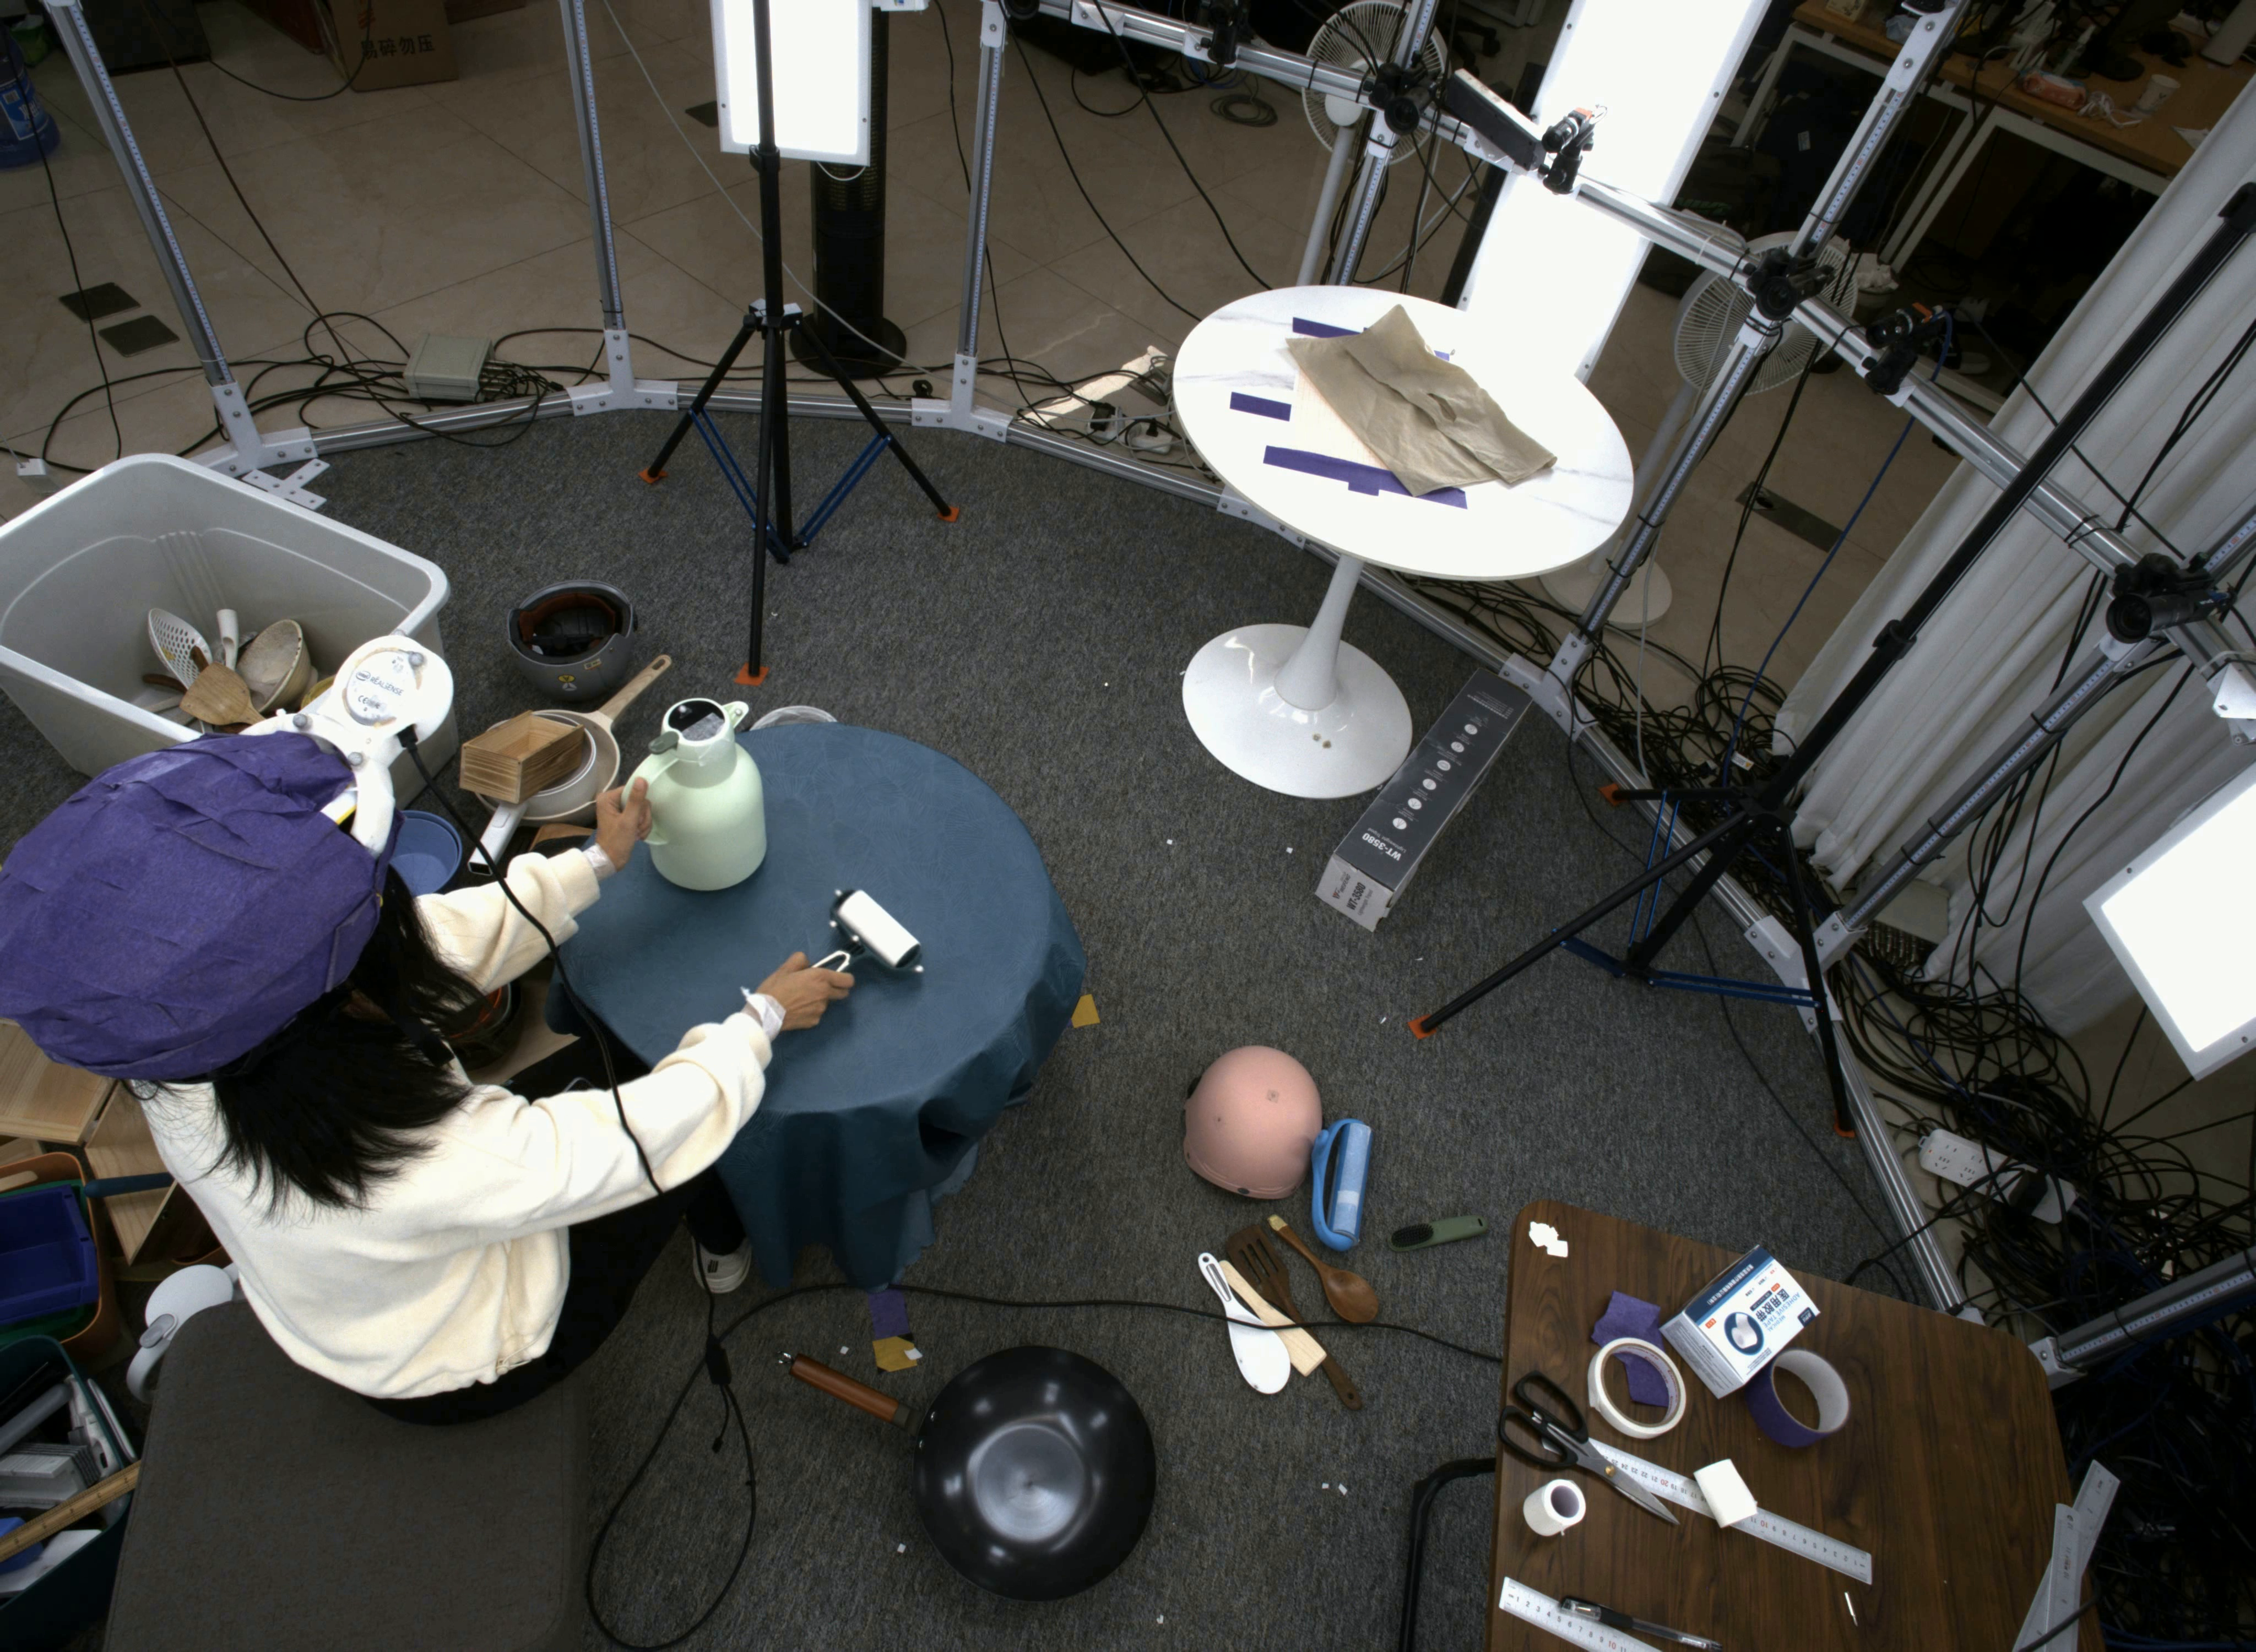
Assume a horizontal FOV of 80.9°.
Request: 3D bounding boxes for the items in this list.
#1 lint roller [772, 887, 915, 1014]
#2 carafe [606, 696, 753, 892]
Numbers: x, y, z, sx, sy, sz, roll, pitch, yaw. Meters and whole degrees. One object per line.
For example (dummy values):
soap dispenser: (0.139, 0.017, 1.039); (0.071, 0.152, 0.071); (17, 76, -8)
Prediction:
lint roller: (-0.356, 0.160, 1.559); (0.132, 0.049, 0.180); (39, 42, 12)
carafe: (-0.544, -0.037, 1.554); (0.141, 0.262, 0.186); (36, 57, 14)
